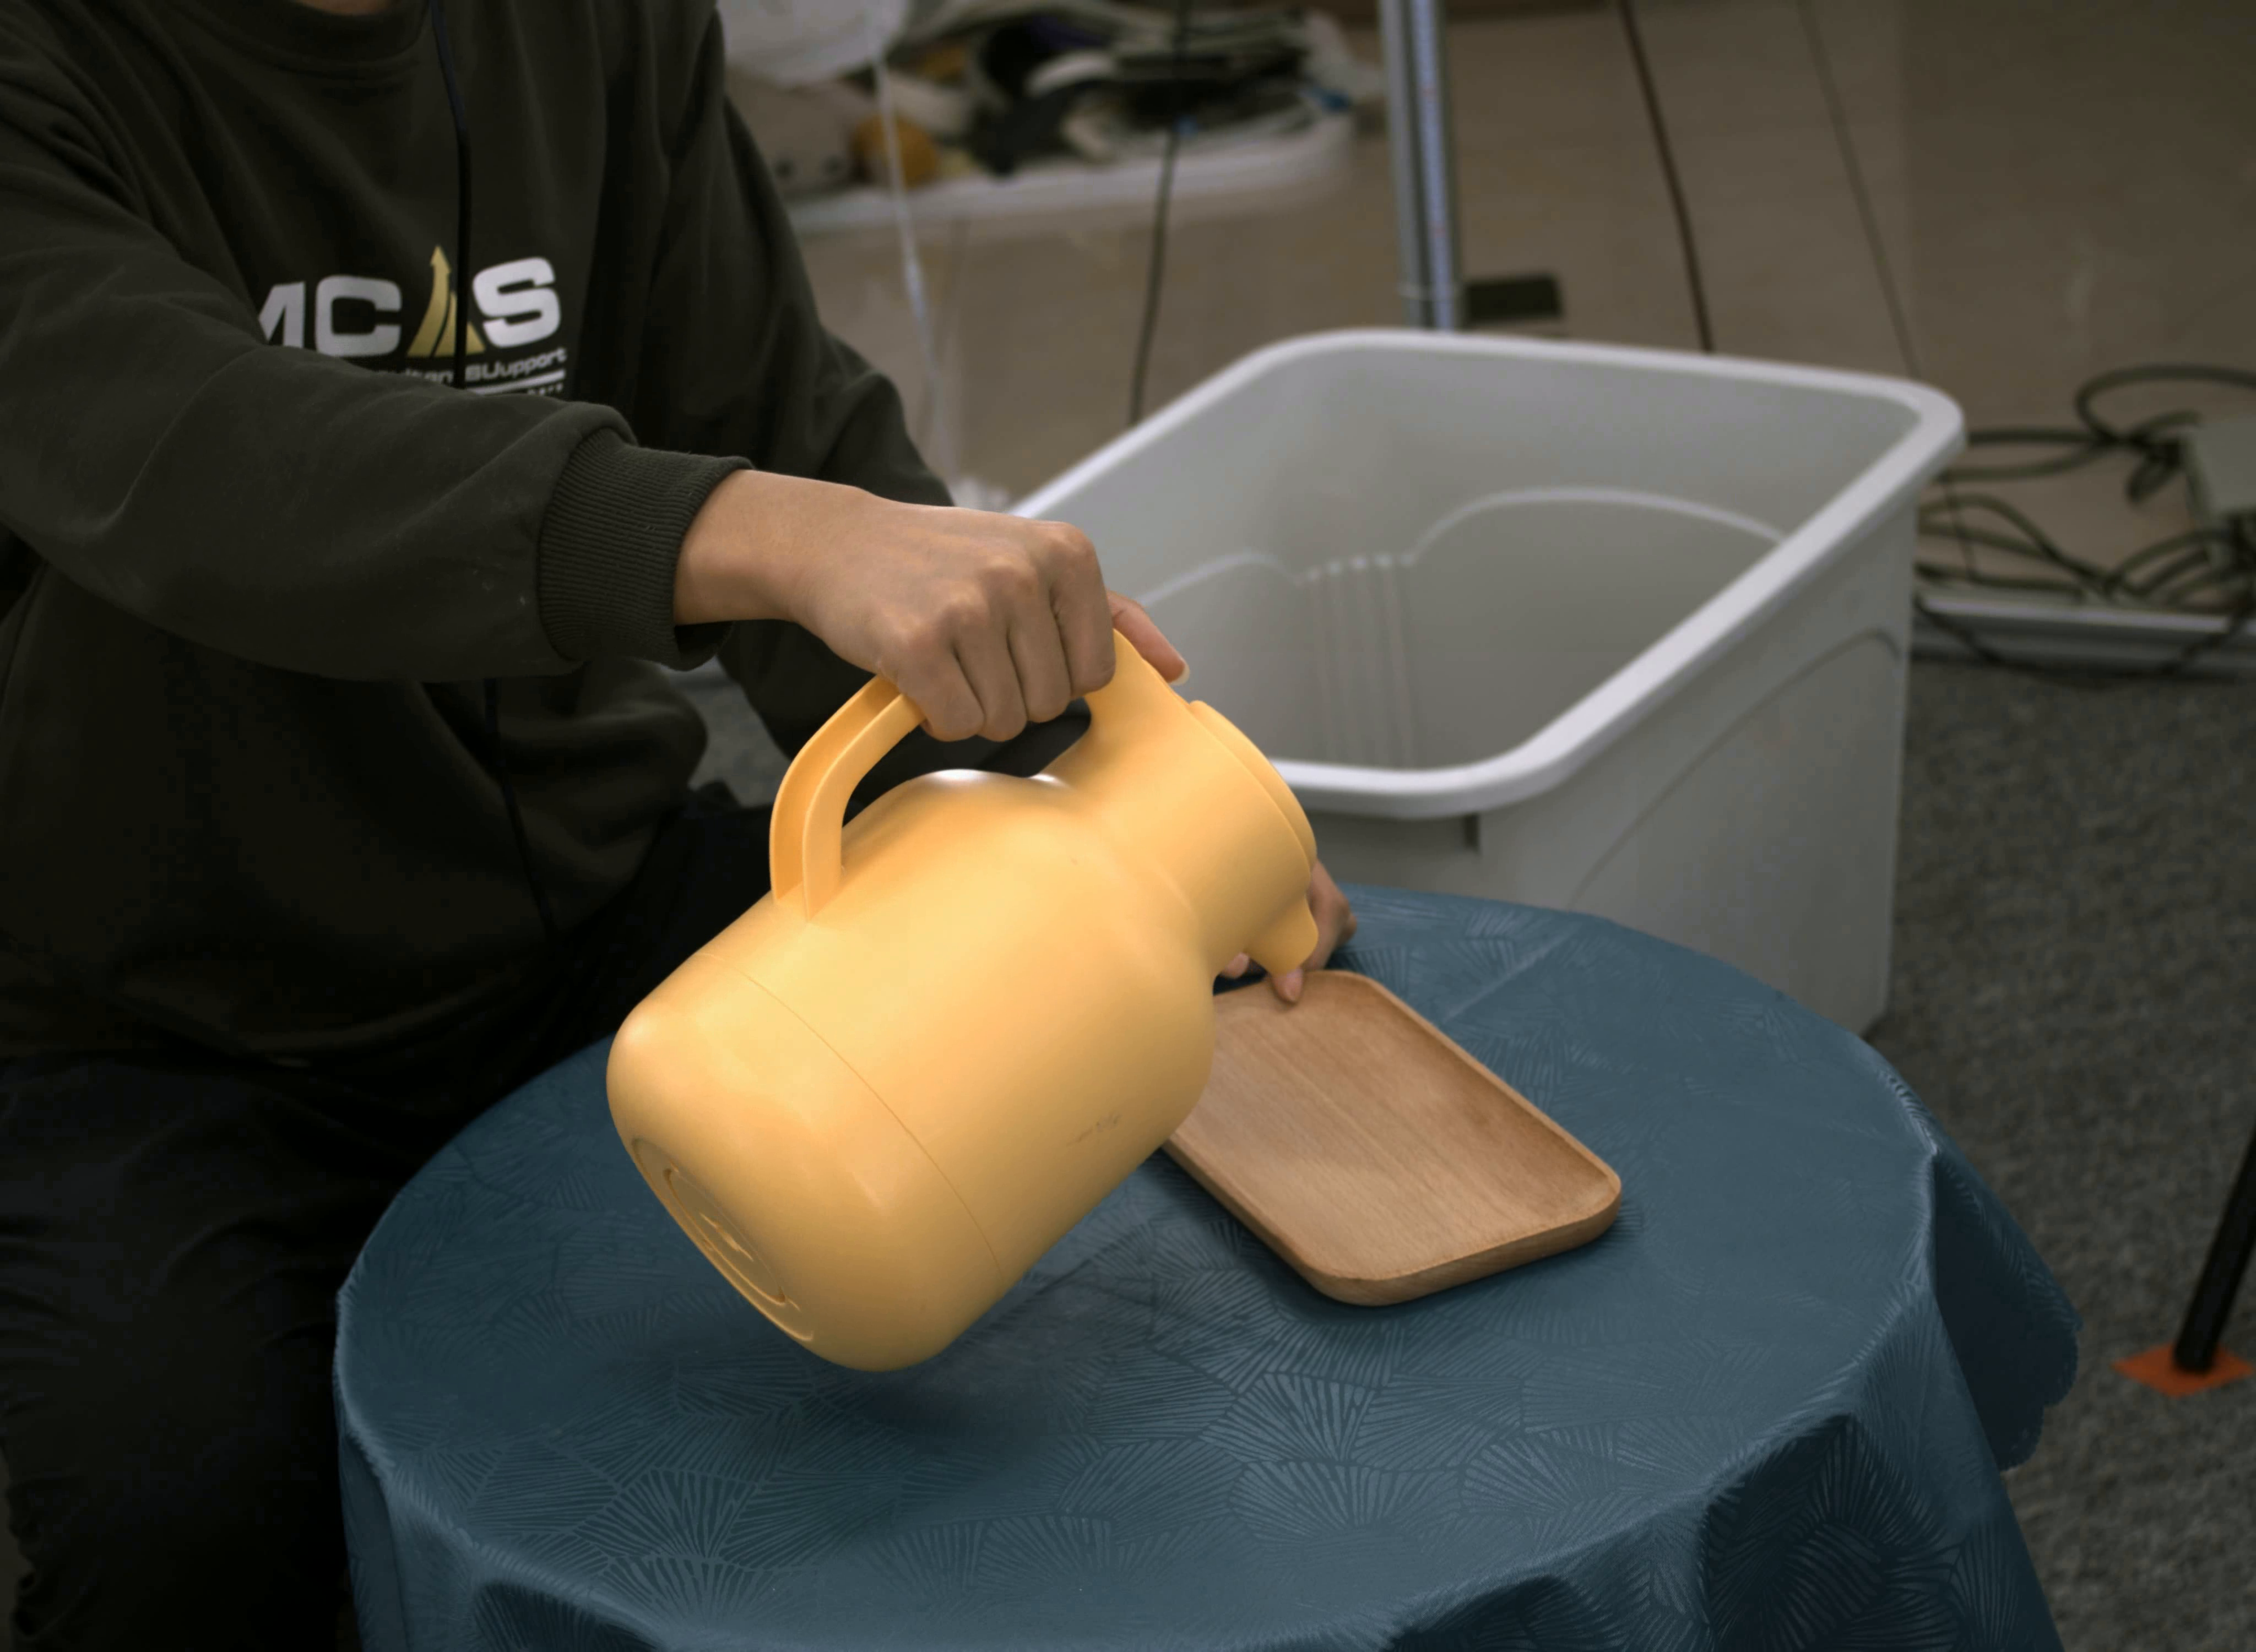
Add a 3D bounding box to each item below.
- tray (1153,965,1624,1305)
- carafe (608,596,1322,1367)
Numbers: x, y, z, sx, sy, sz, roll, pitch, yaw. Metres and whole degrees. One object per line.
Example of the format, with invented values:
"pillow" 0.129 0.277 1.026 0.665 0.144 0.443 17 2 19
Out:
"tray" 0.083 0.115 2.158 0.130 0.023 0.248 -13 24 -20
"carafe" -0.059 0.046 2.009 0.258 0.205 0.162 -41 29 -18
